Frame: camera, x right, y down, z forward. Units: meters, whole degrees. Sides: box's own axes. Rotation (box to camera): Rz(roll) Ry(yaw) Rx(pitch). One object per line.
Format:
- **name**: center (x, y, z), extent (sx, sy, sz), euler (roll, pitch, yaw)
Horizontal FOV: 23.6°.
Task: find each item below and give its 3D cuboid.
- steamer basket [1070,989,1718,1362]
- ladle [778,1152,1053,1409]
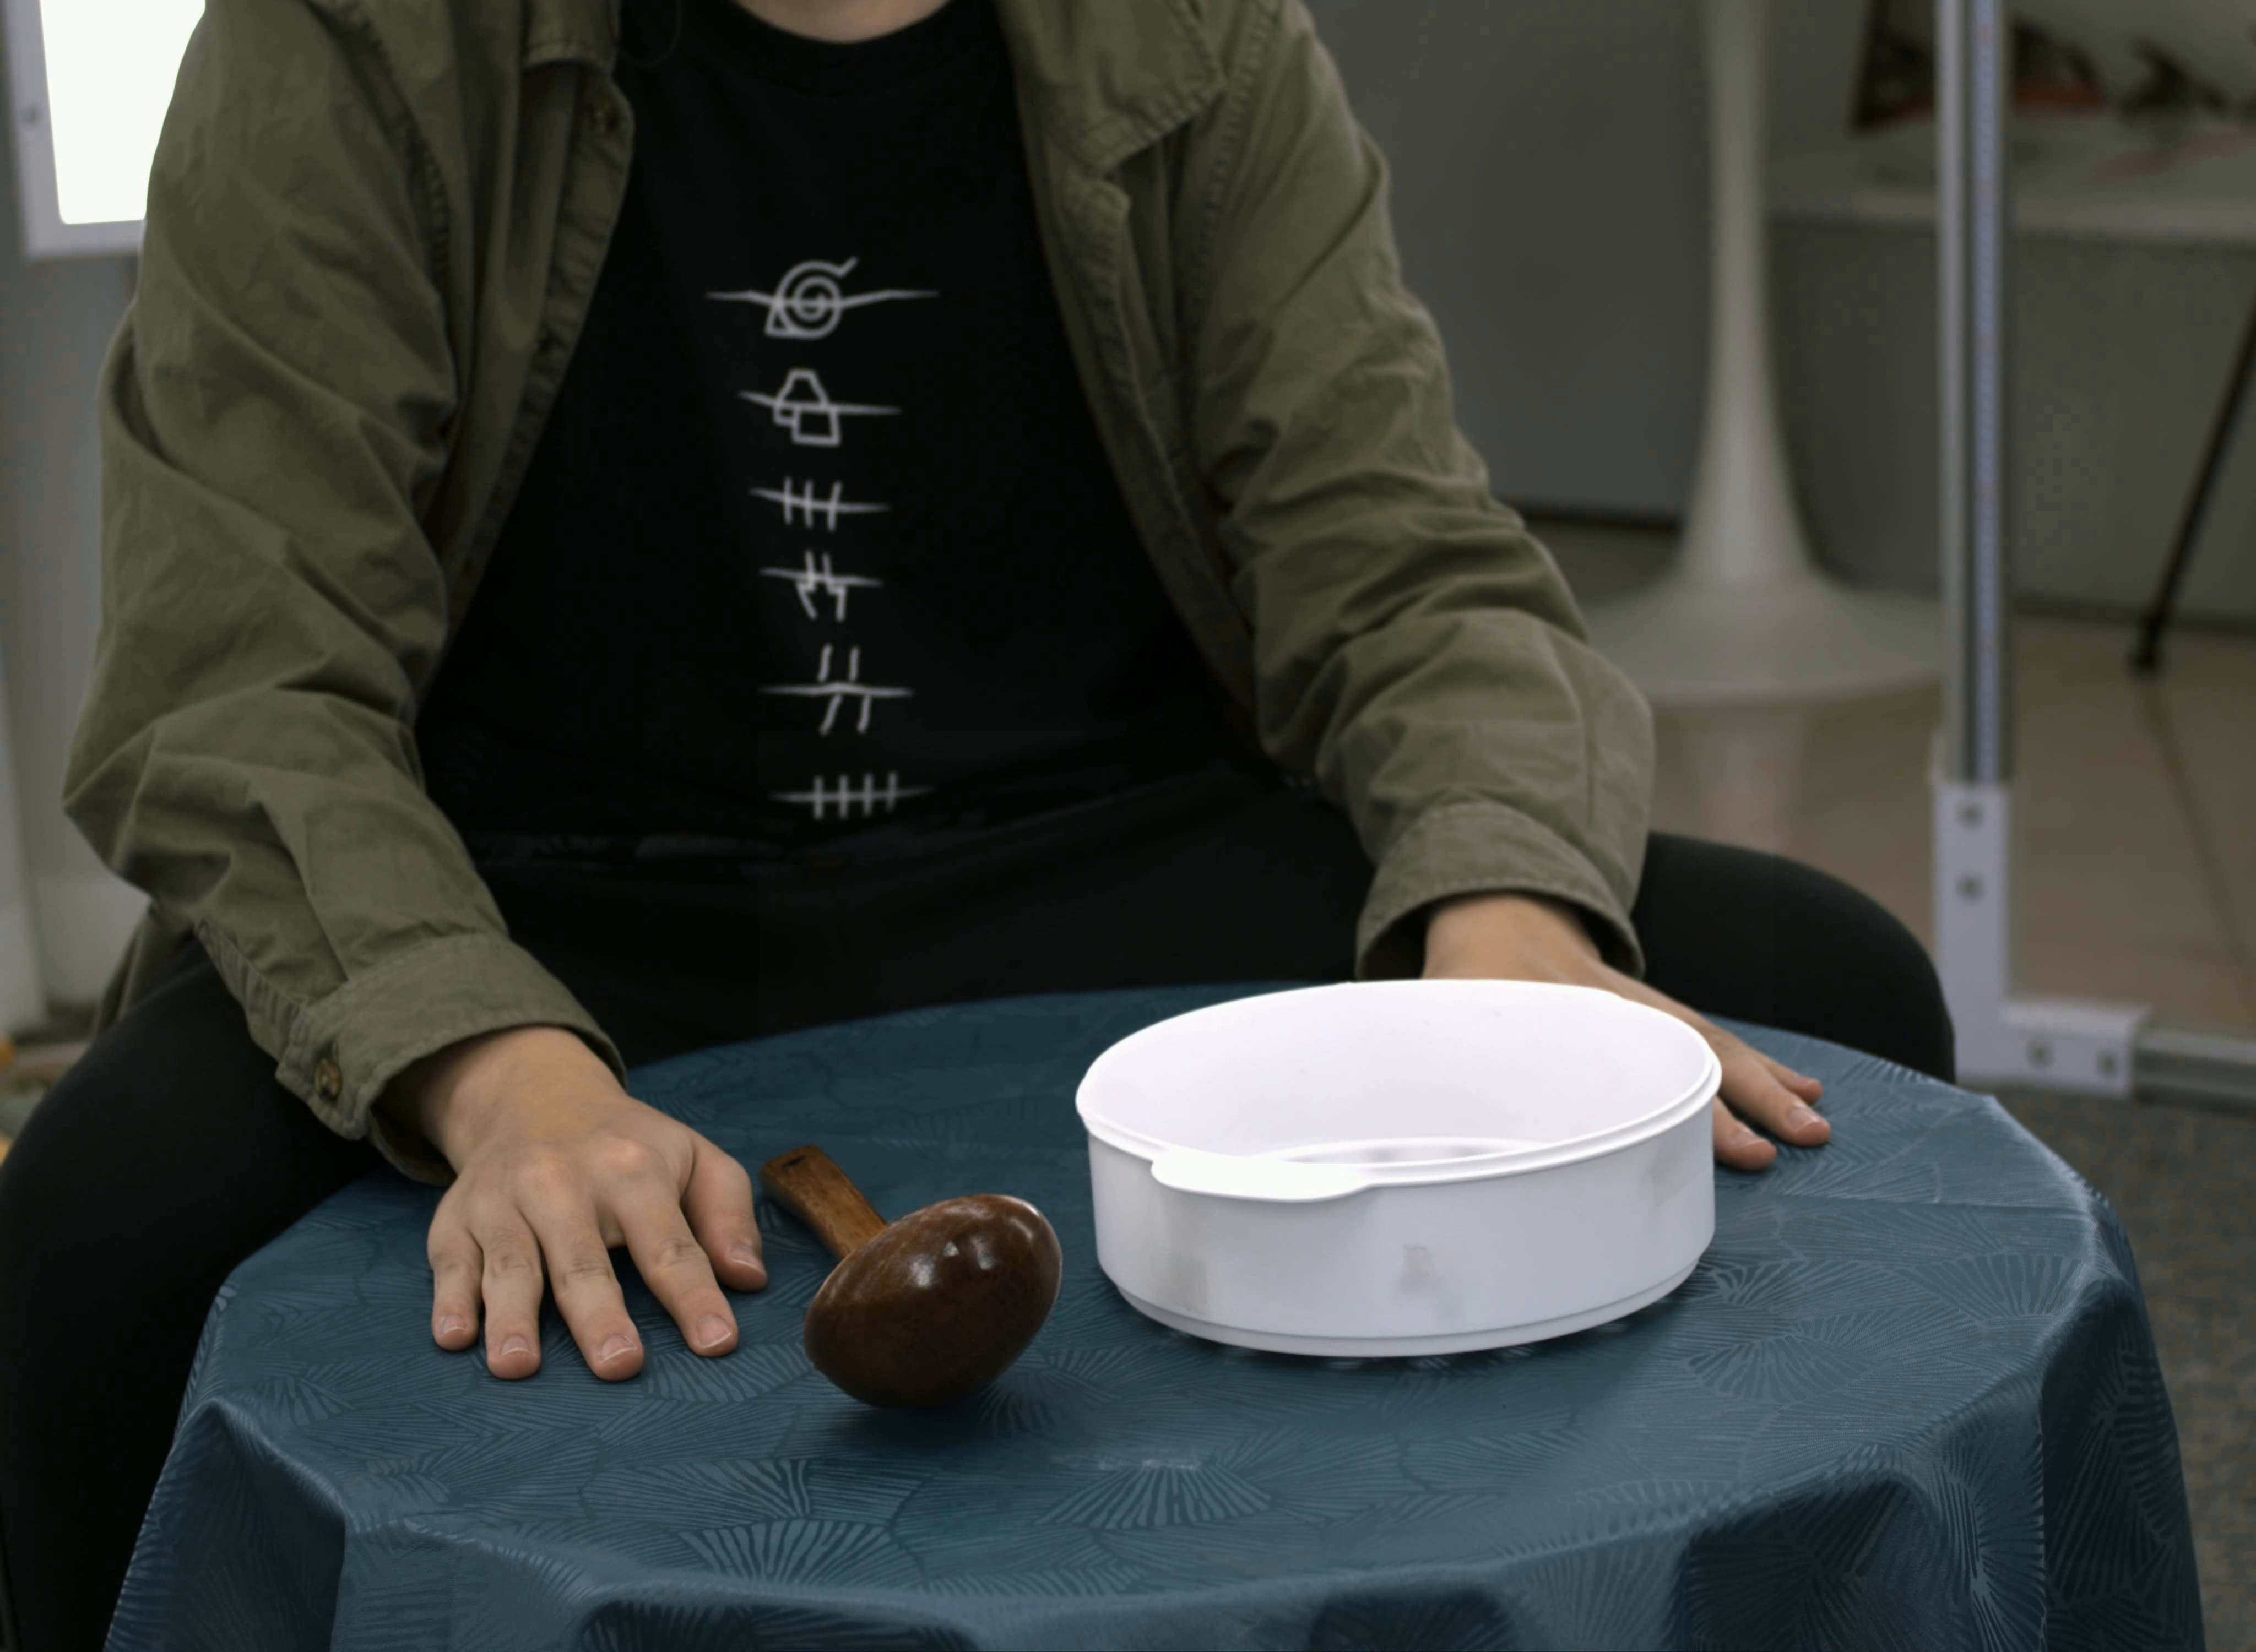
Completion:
- **steamer basket**: center (0.083, 0.107, 1.660), extent (0.202, 0.070, 0.227), euler (4, 15, 29)
- **ladle**: center (-0.085, 0.116, 1.658), extent (0.081, 0.077, 0.276), euler (-21, 17, -10)
